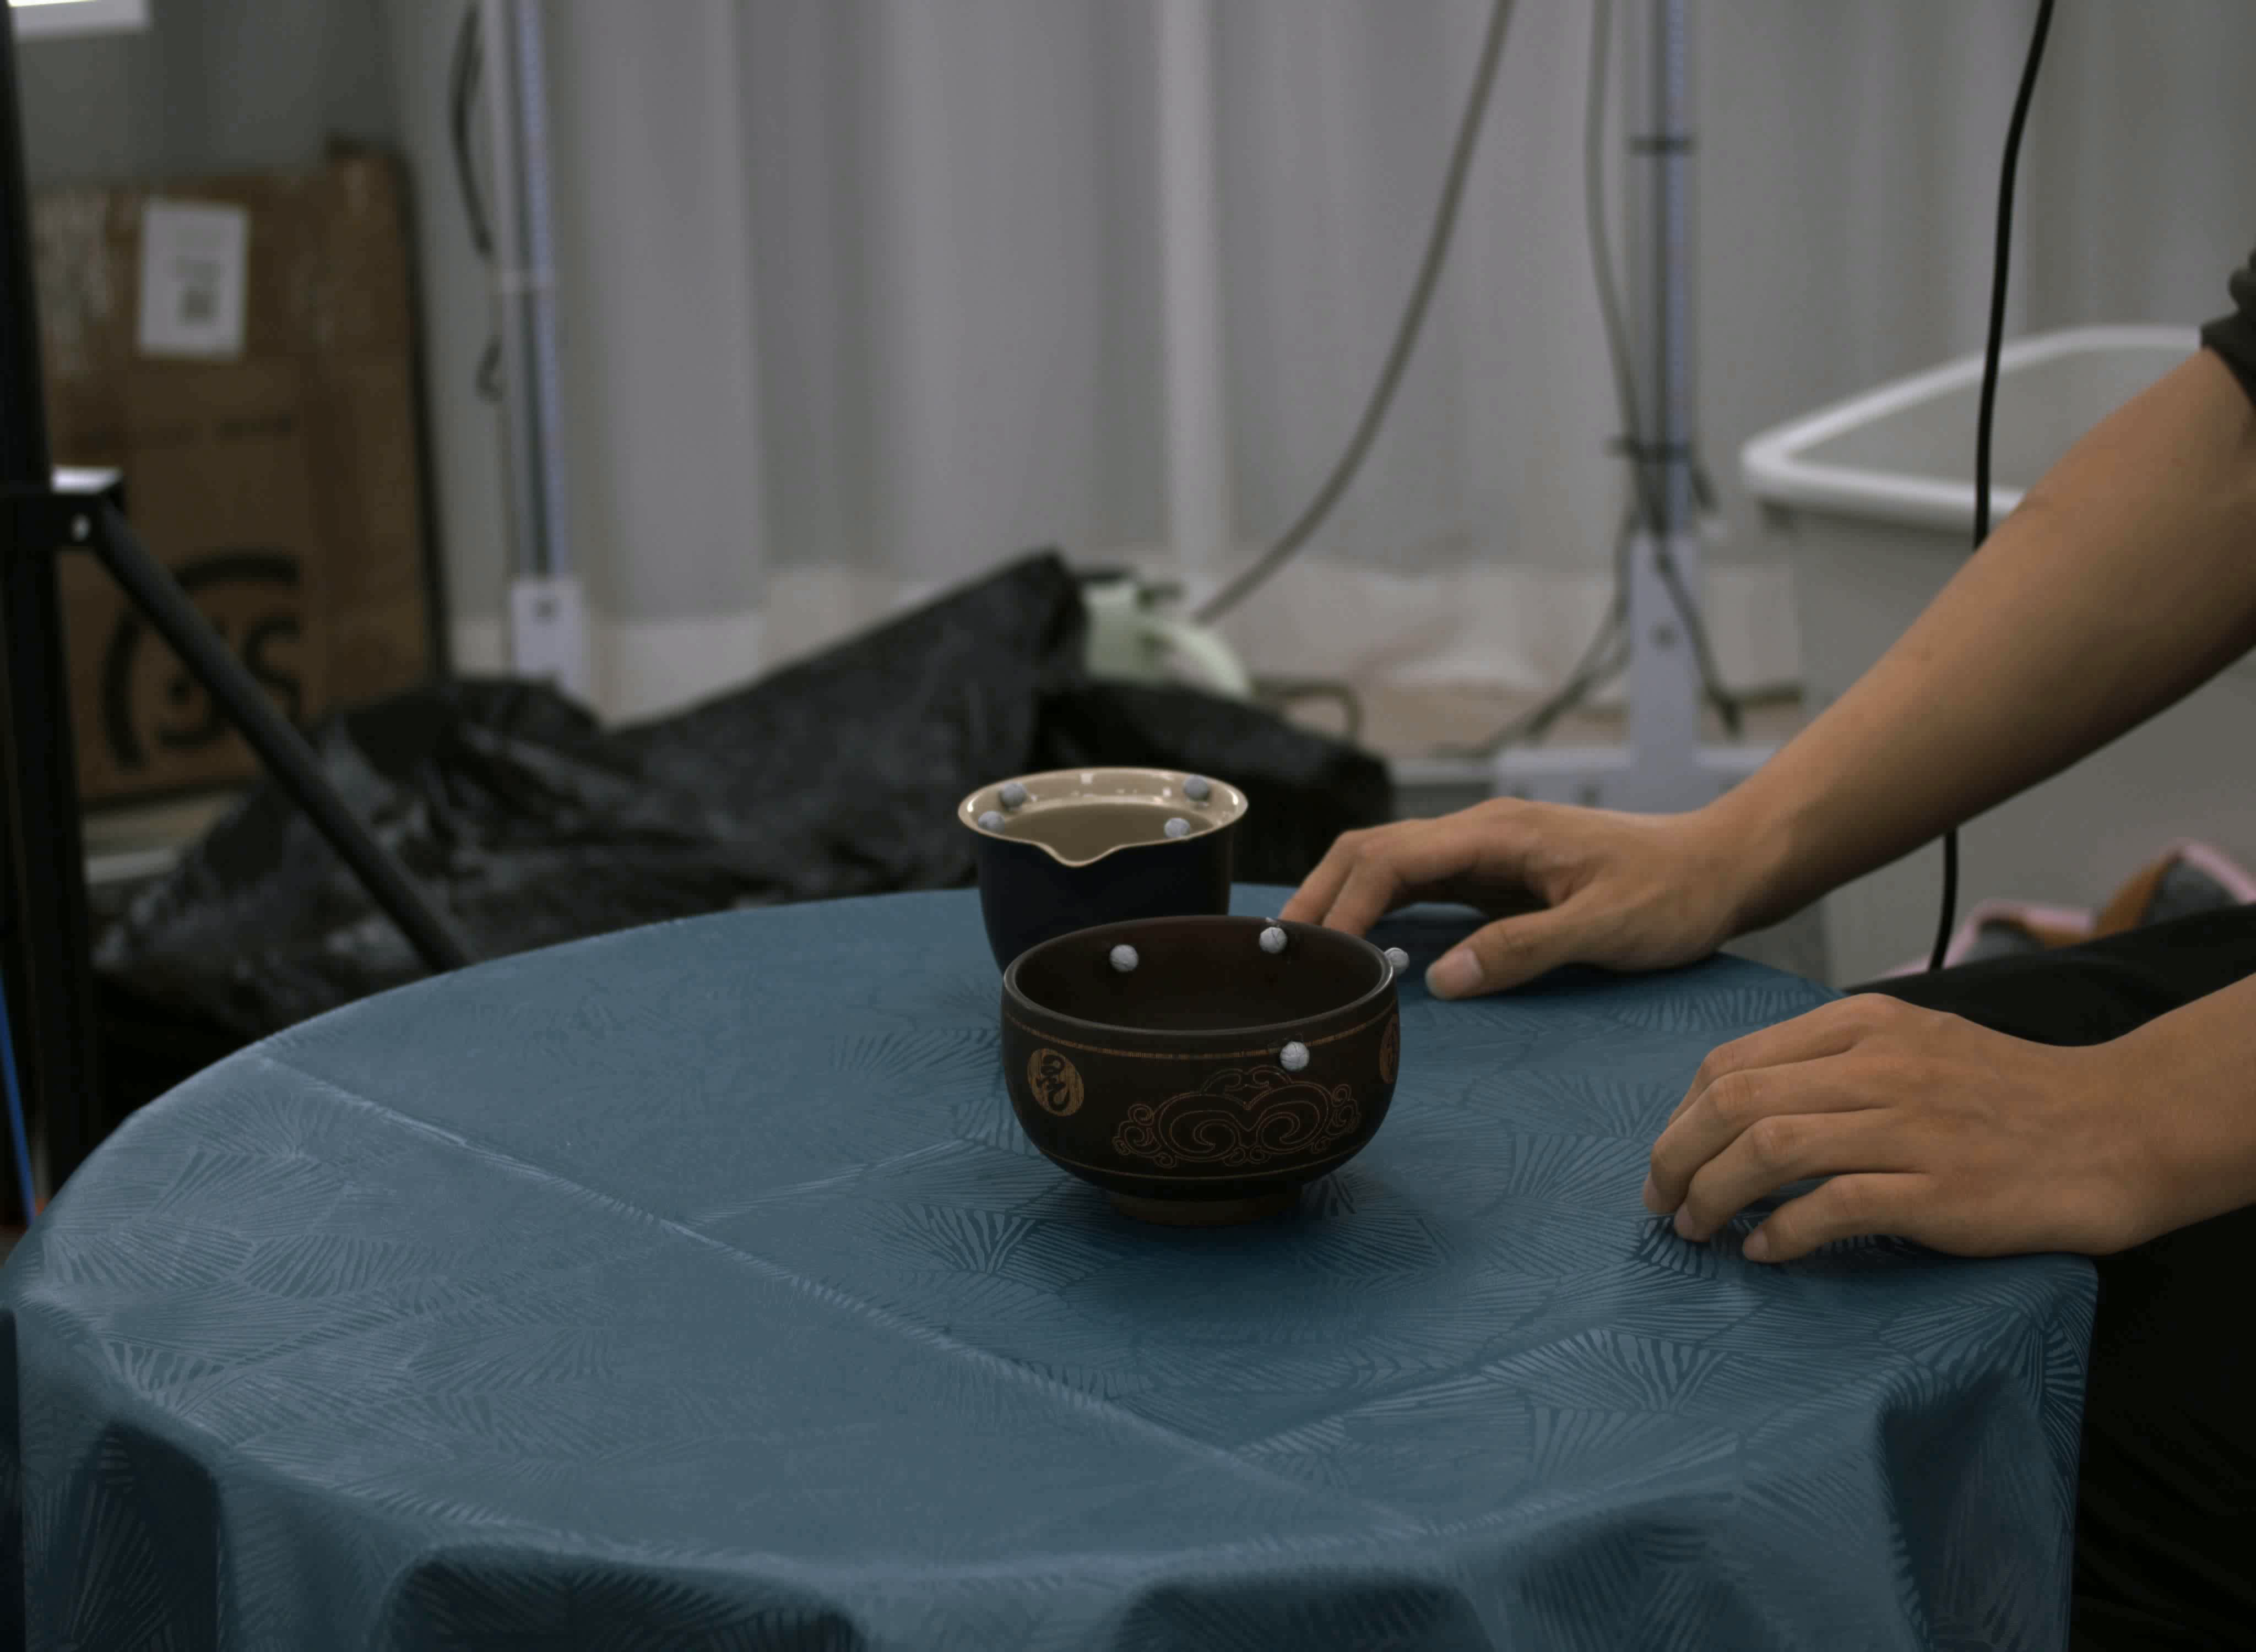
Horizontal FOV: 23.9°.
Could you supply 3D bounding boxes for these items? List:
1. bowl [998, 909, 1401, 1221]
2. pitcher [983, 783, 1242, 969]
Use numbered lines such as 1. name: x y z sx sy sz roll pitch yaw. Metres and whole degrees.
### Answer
1. bowl: 0.022 0.074 1.548 0.117 0.070 0.118 -4 15 0
2. pitcher: -0.006 0.027 1.710 0.084 0.071 0.095 4 16 16
